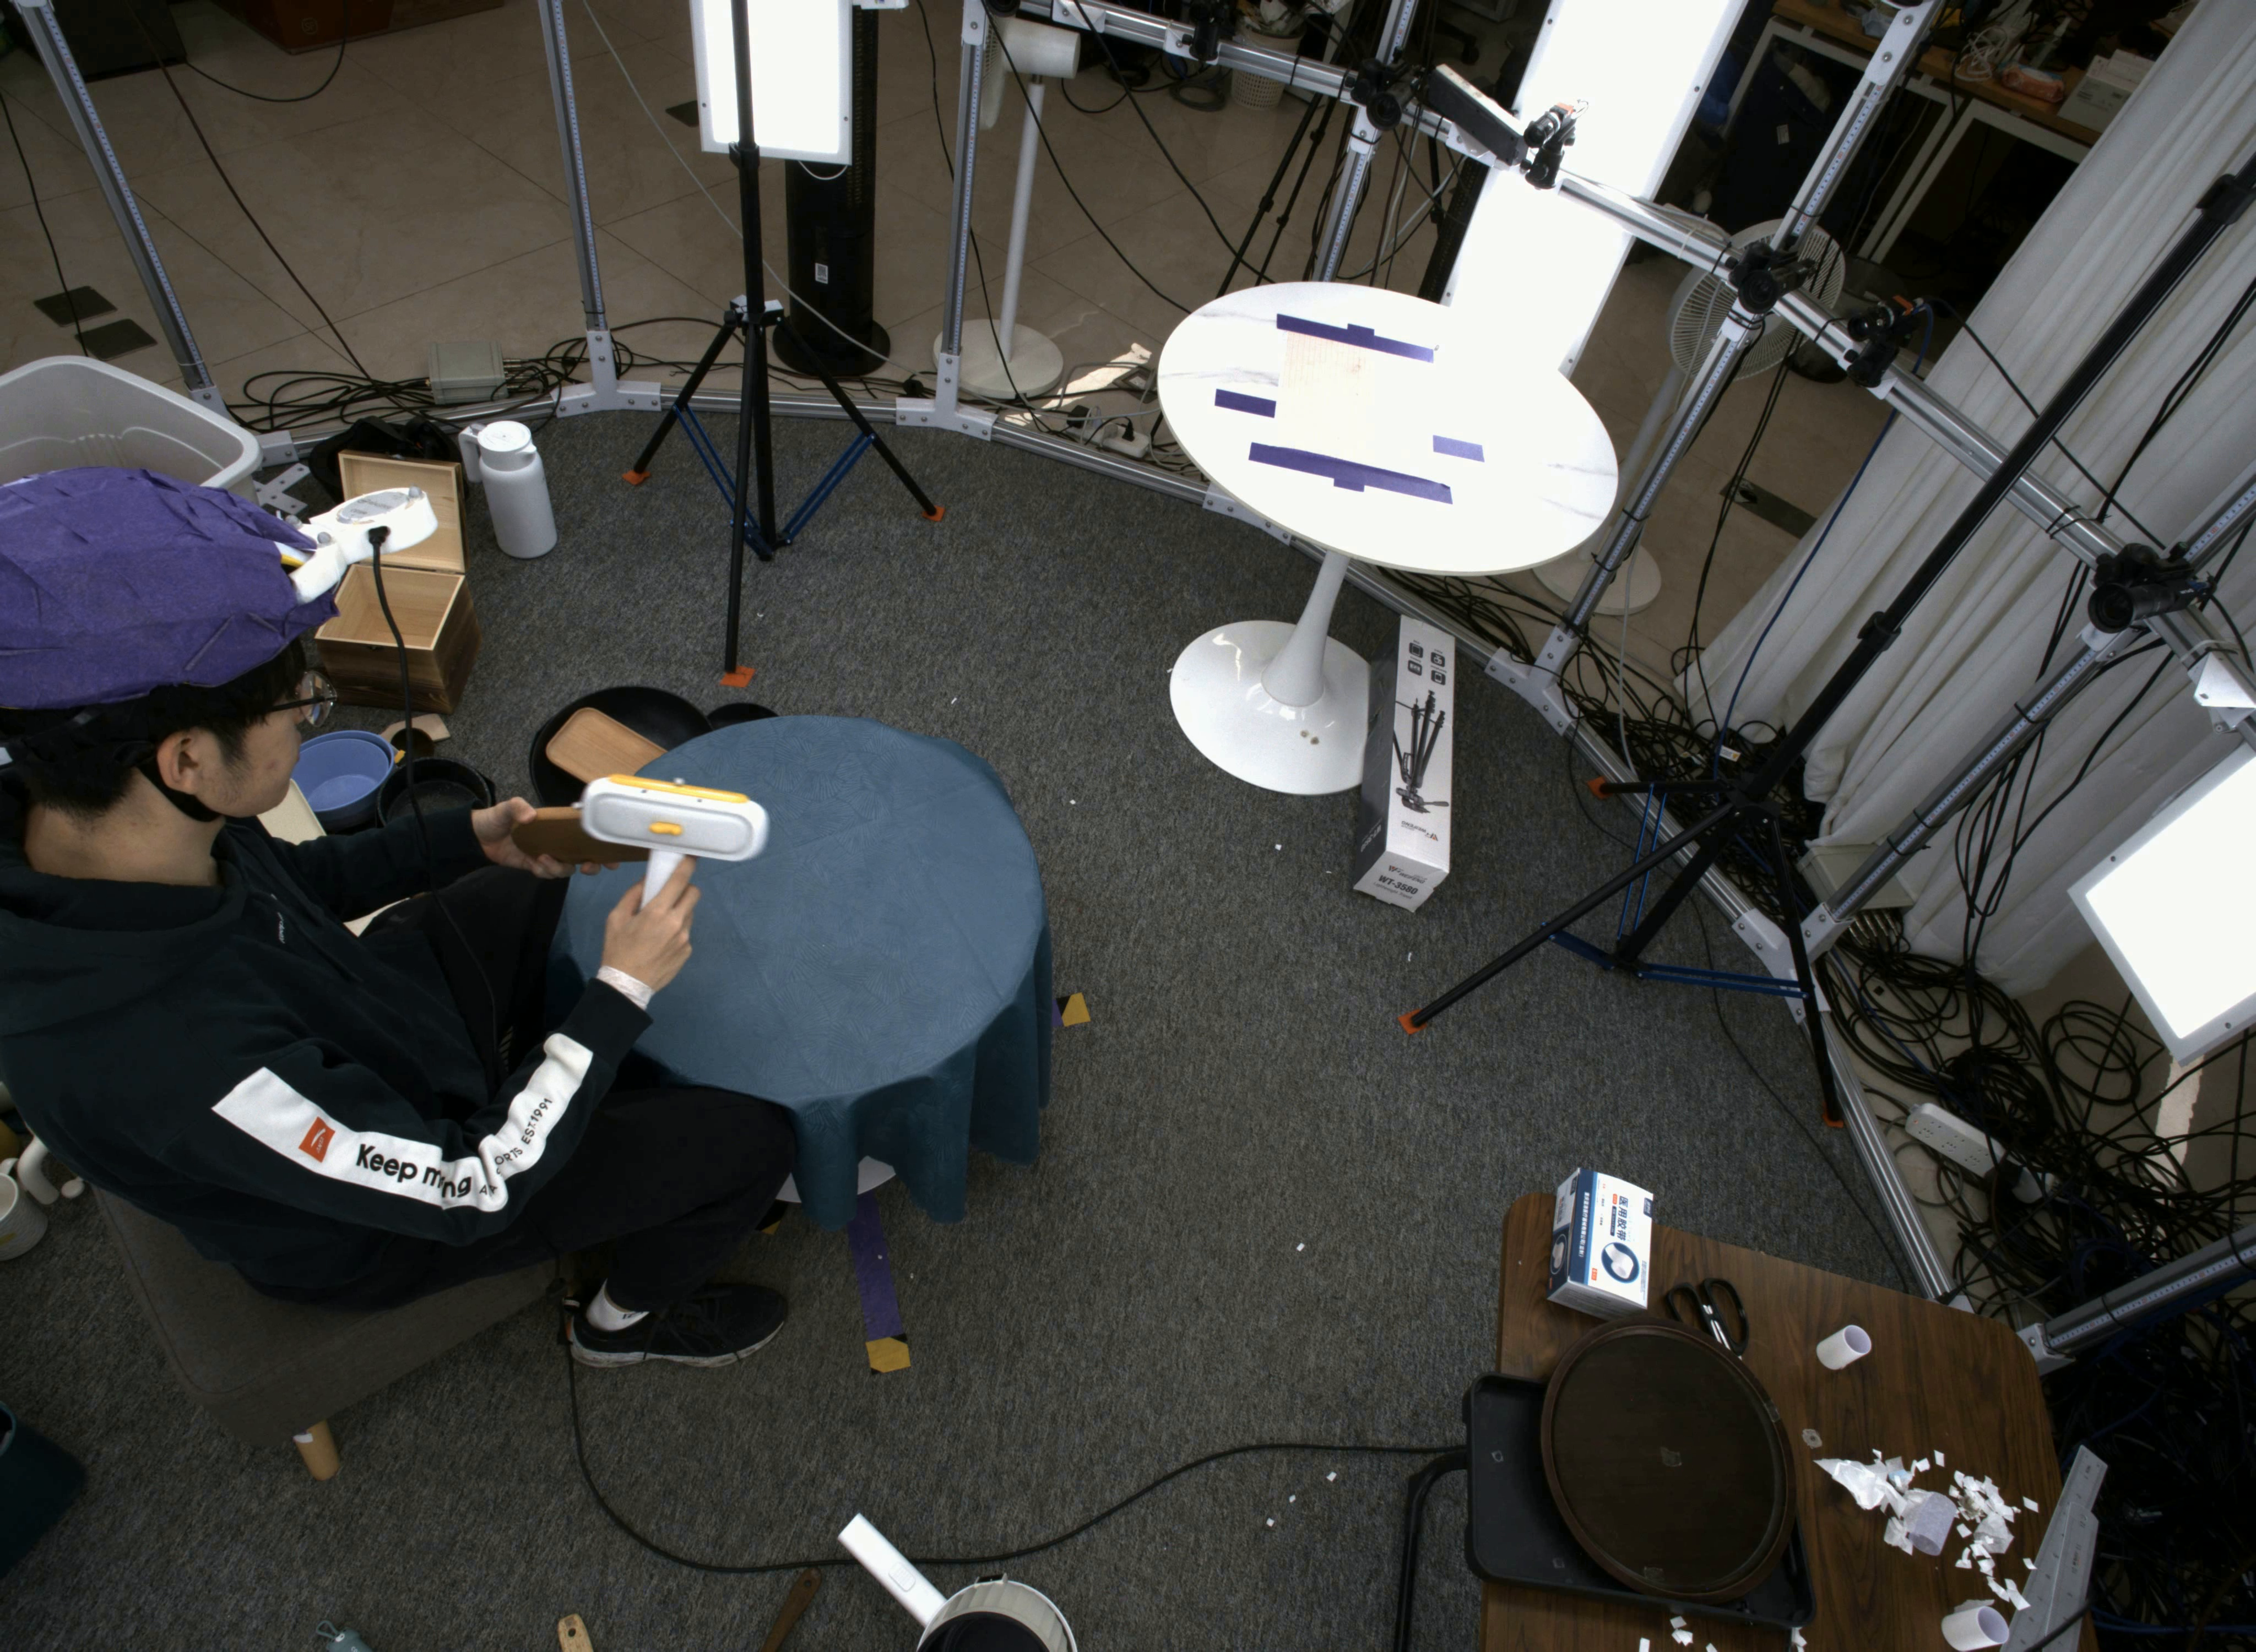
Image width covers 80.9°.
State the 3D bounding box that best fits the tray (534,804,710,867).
[{"bbox_3d":[-0.567,0.007,1.419,0.229,0.104,0.020,-3,57,-2],"label":"tray"}]

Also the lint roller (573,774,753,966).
[{"bbox_3d":[-0.498,0.046,1.358,0.194,0.196,0.072,4,10,-17],"label":"lint roller"}]
